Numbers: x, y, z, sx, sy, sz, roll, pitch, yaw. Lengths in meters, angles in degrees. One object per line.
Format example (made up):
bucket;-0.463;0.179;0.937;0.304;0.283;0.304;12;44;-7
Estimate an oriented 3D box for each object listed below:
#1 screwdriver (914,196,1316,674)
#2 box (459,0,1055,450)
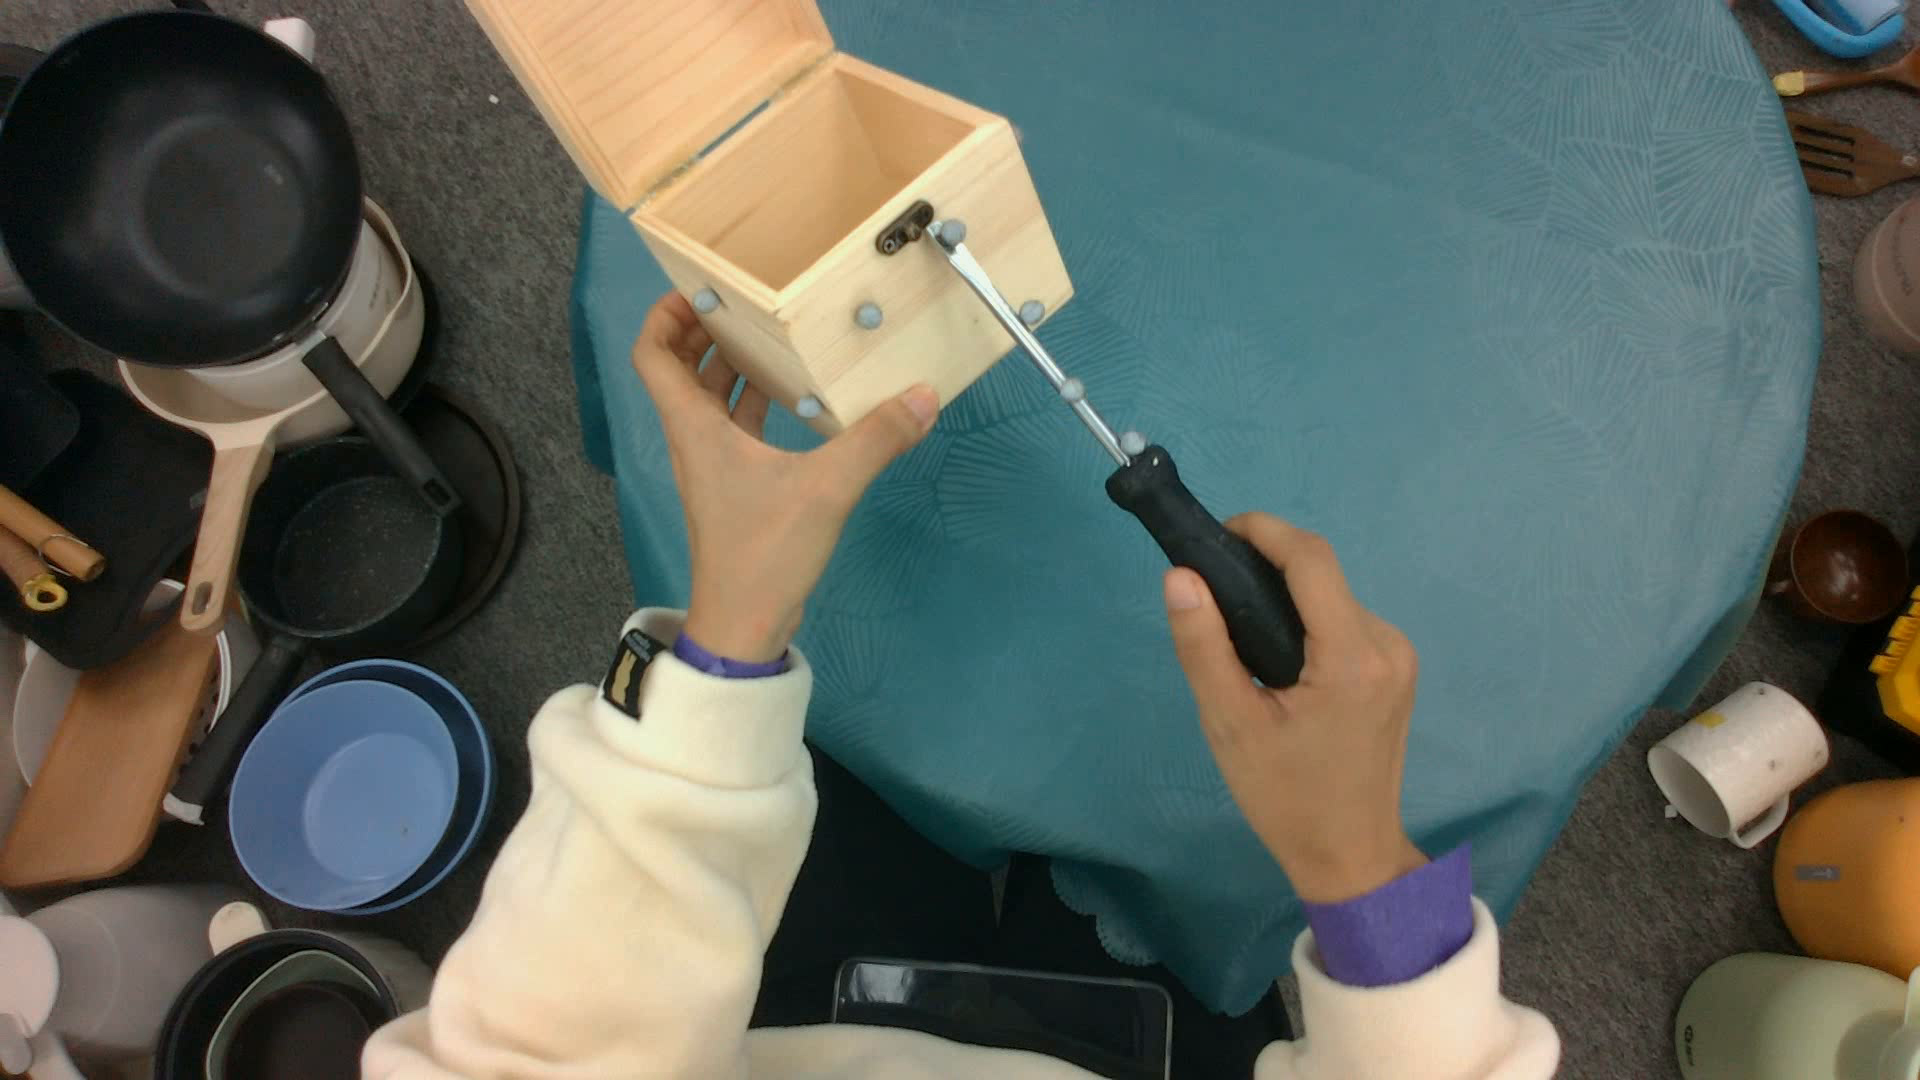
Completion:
screwdriver;0.051;-0.036;0.455;0.031;0.031;0.198;-38;92;-8
box;-0.068;-0.144;0.465;0.103;0.184;0.134;-44;47;-12
